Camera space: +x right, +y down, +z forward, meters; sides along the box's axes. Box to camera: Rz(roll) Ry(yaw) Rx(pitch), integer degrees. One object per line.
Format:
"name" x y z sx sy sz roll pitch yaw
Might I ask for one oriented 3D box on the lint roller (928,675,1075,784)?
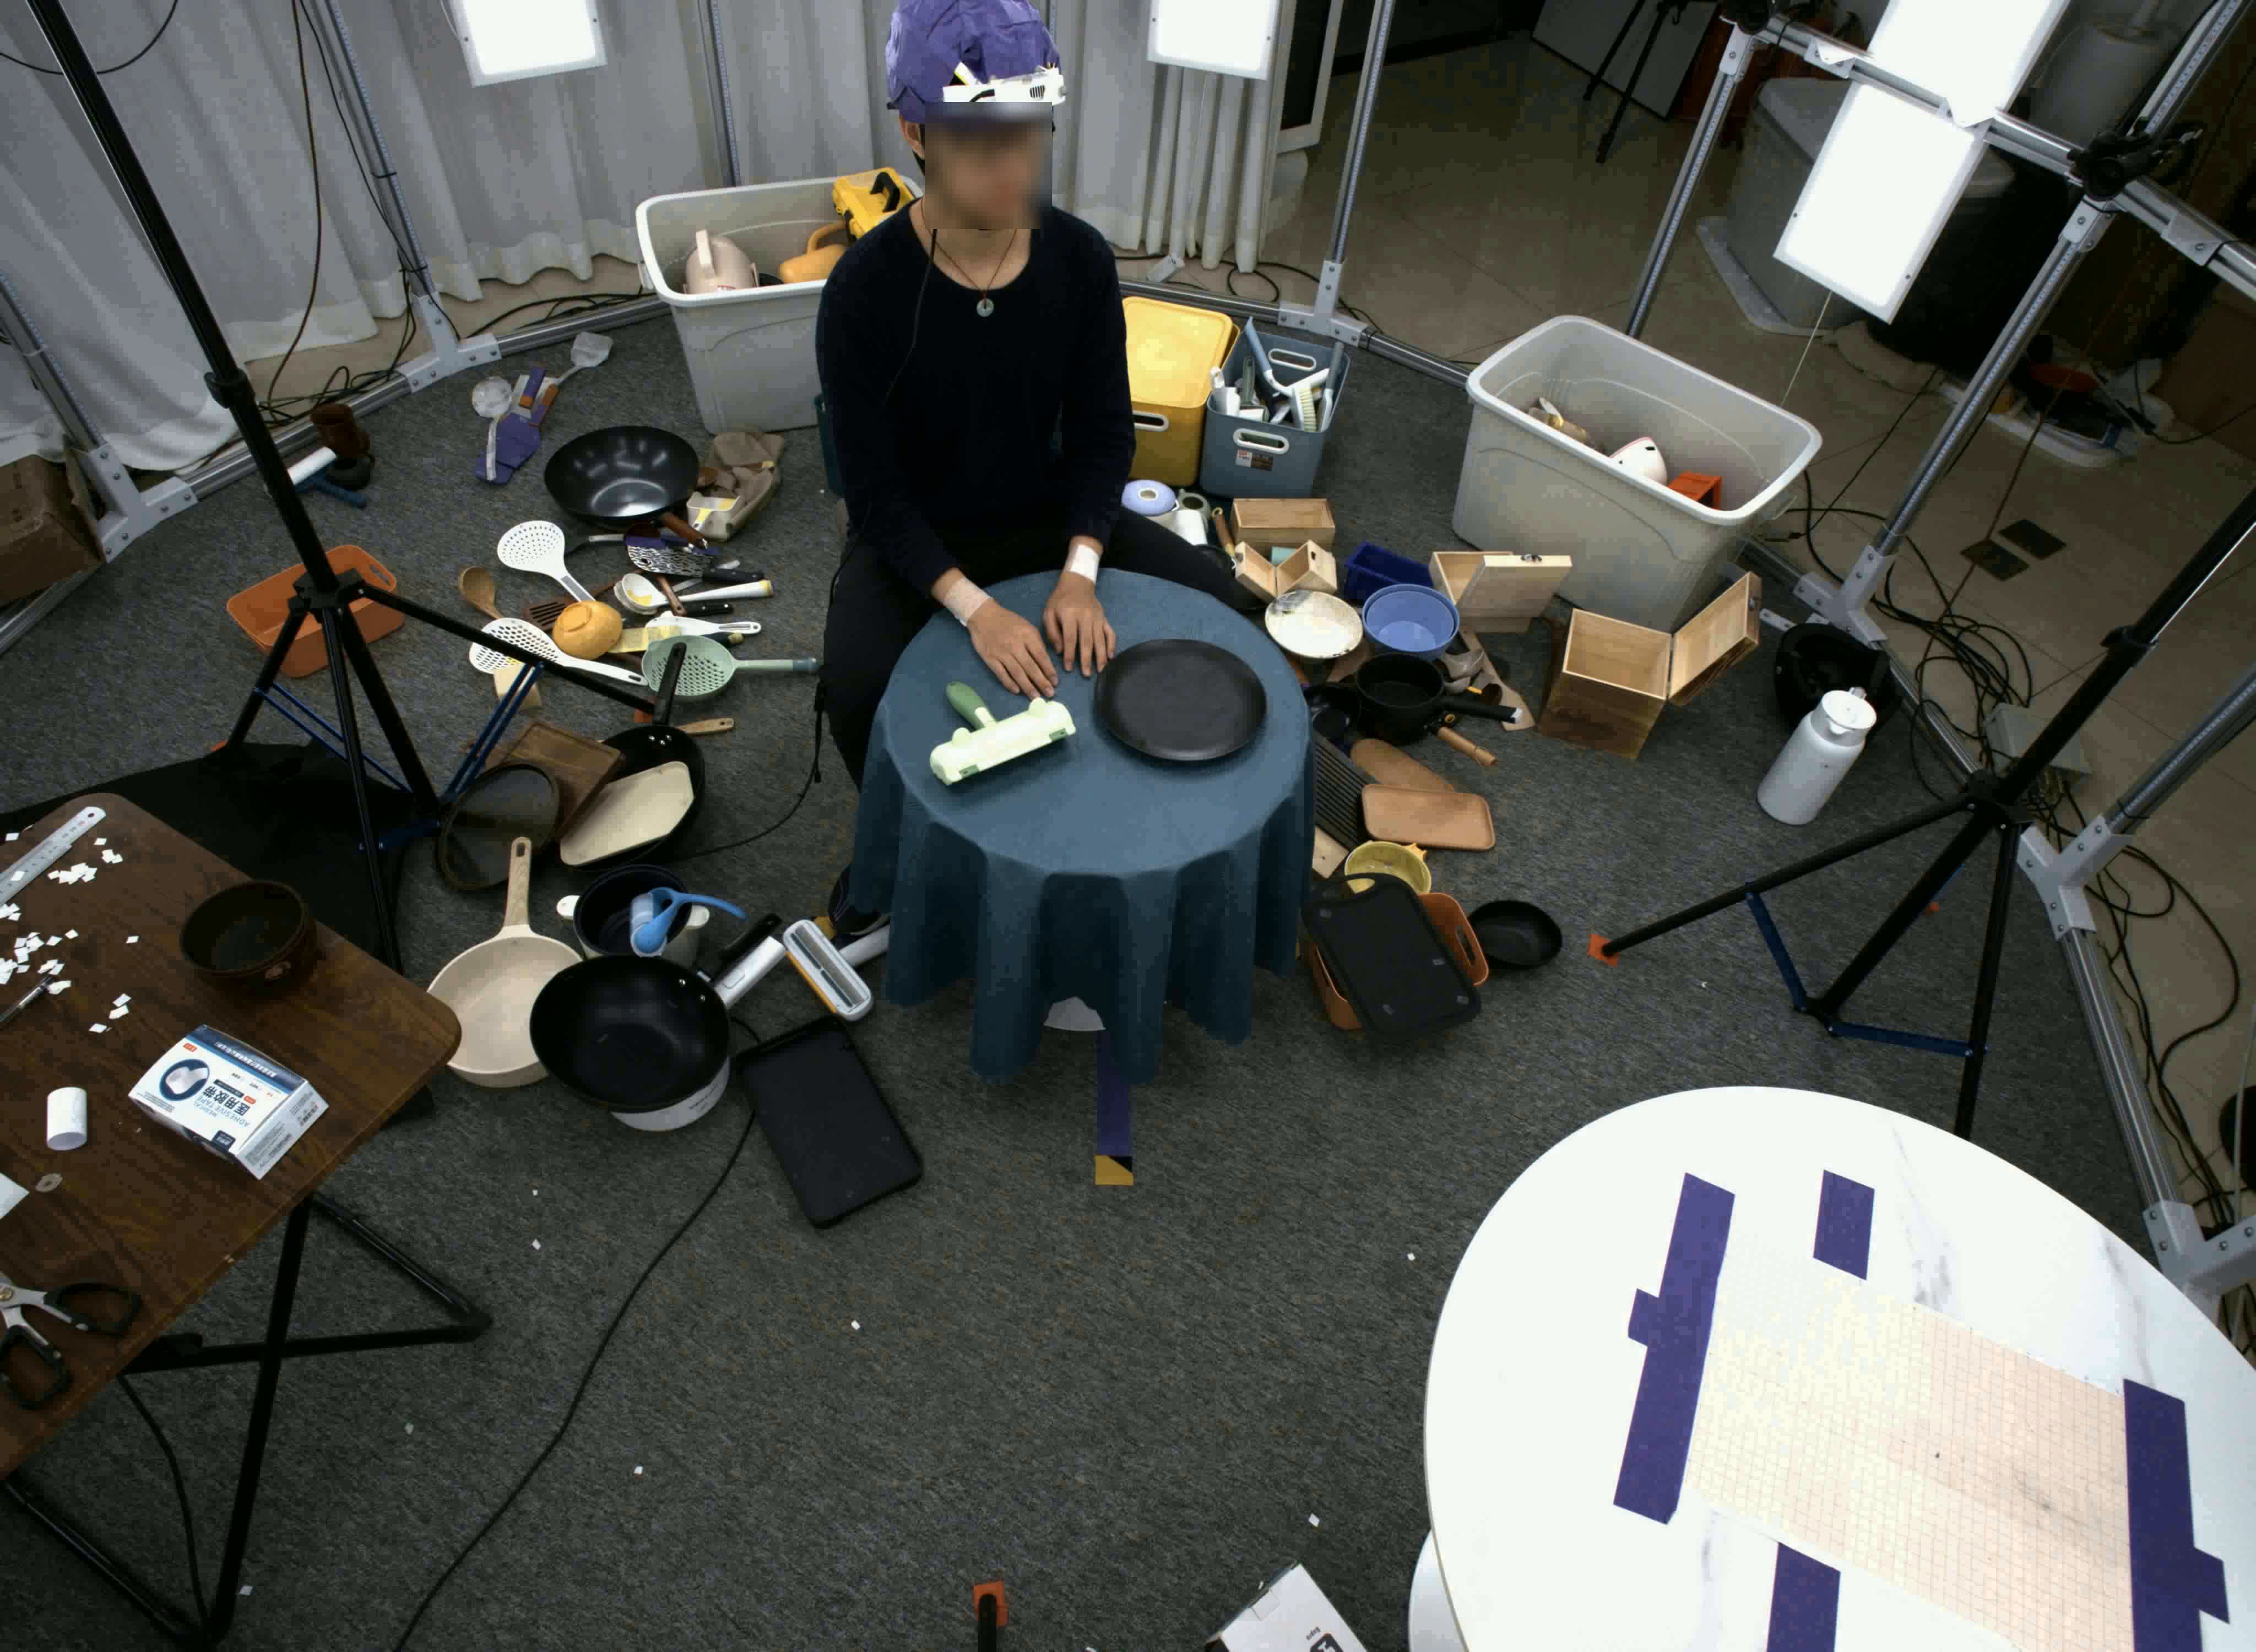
"lint roller" -0.198 -0.158 1.737 0.199 0.080 0.187 -24 61 -24

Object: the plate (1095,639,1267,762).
"plate" 0.074 -0.175 1.810 0.244 0.023 0.250 2 49 -2
